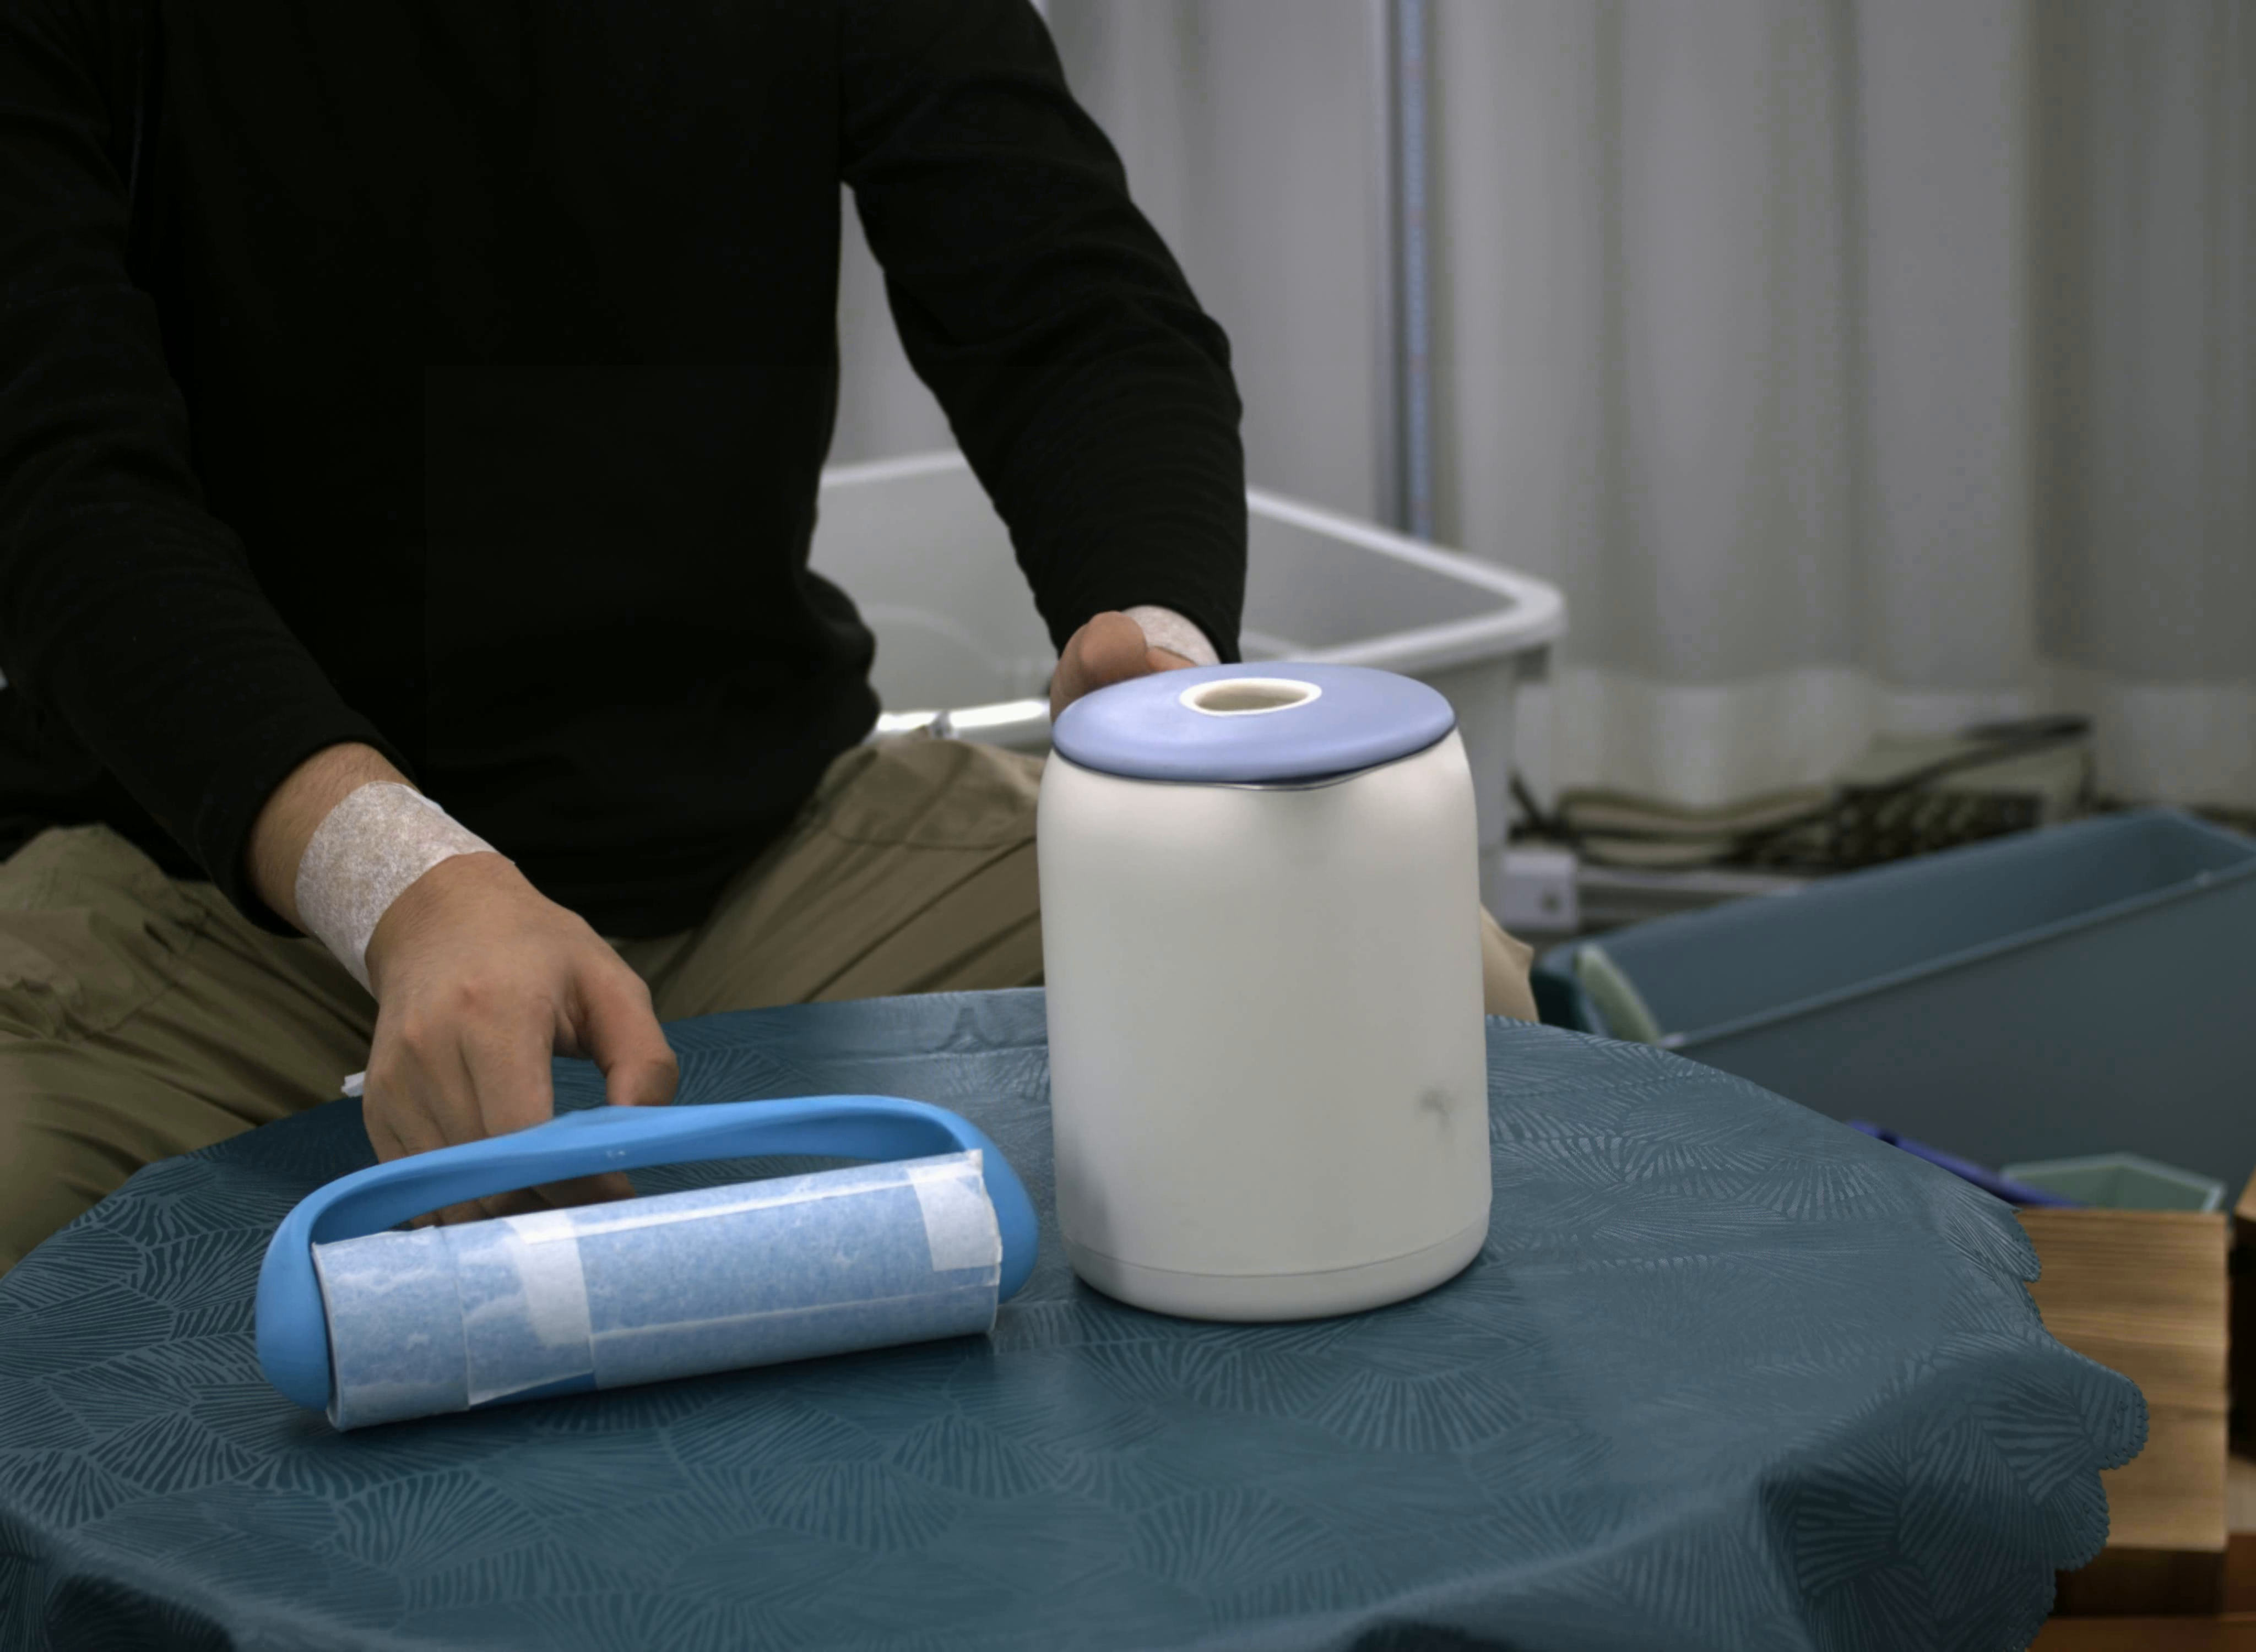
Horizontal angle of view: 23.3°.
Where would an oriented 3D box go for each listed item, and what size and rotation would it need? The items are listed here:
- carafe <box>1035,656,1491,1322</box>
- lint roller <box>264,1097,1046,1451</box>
[{"bbox_3d":[0.034,0.042,1.650,0.131,0.182,0.192,-5,12,-13],"label":"carafe"},{"bbox_3d":[-0.153,0.115,1.623,0.228,0.067,0.182,-11,23,-16],"label":"lint roller"}]
